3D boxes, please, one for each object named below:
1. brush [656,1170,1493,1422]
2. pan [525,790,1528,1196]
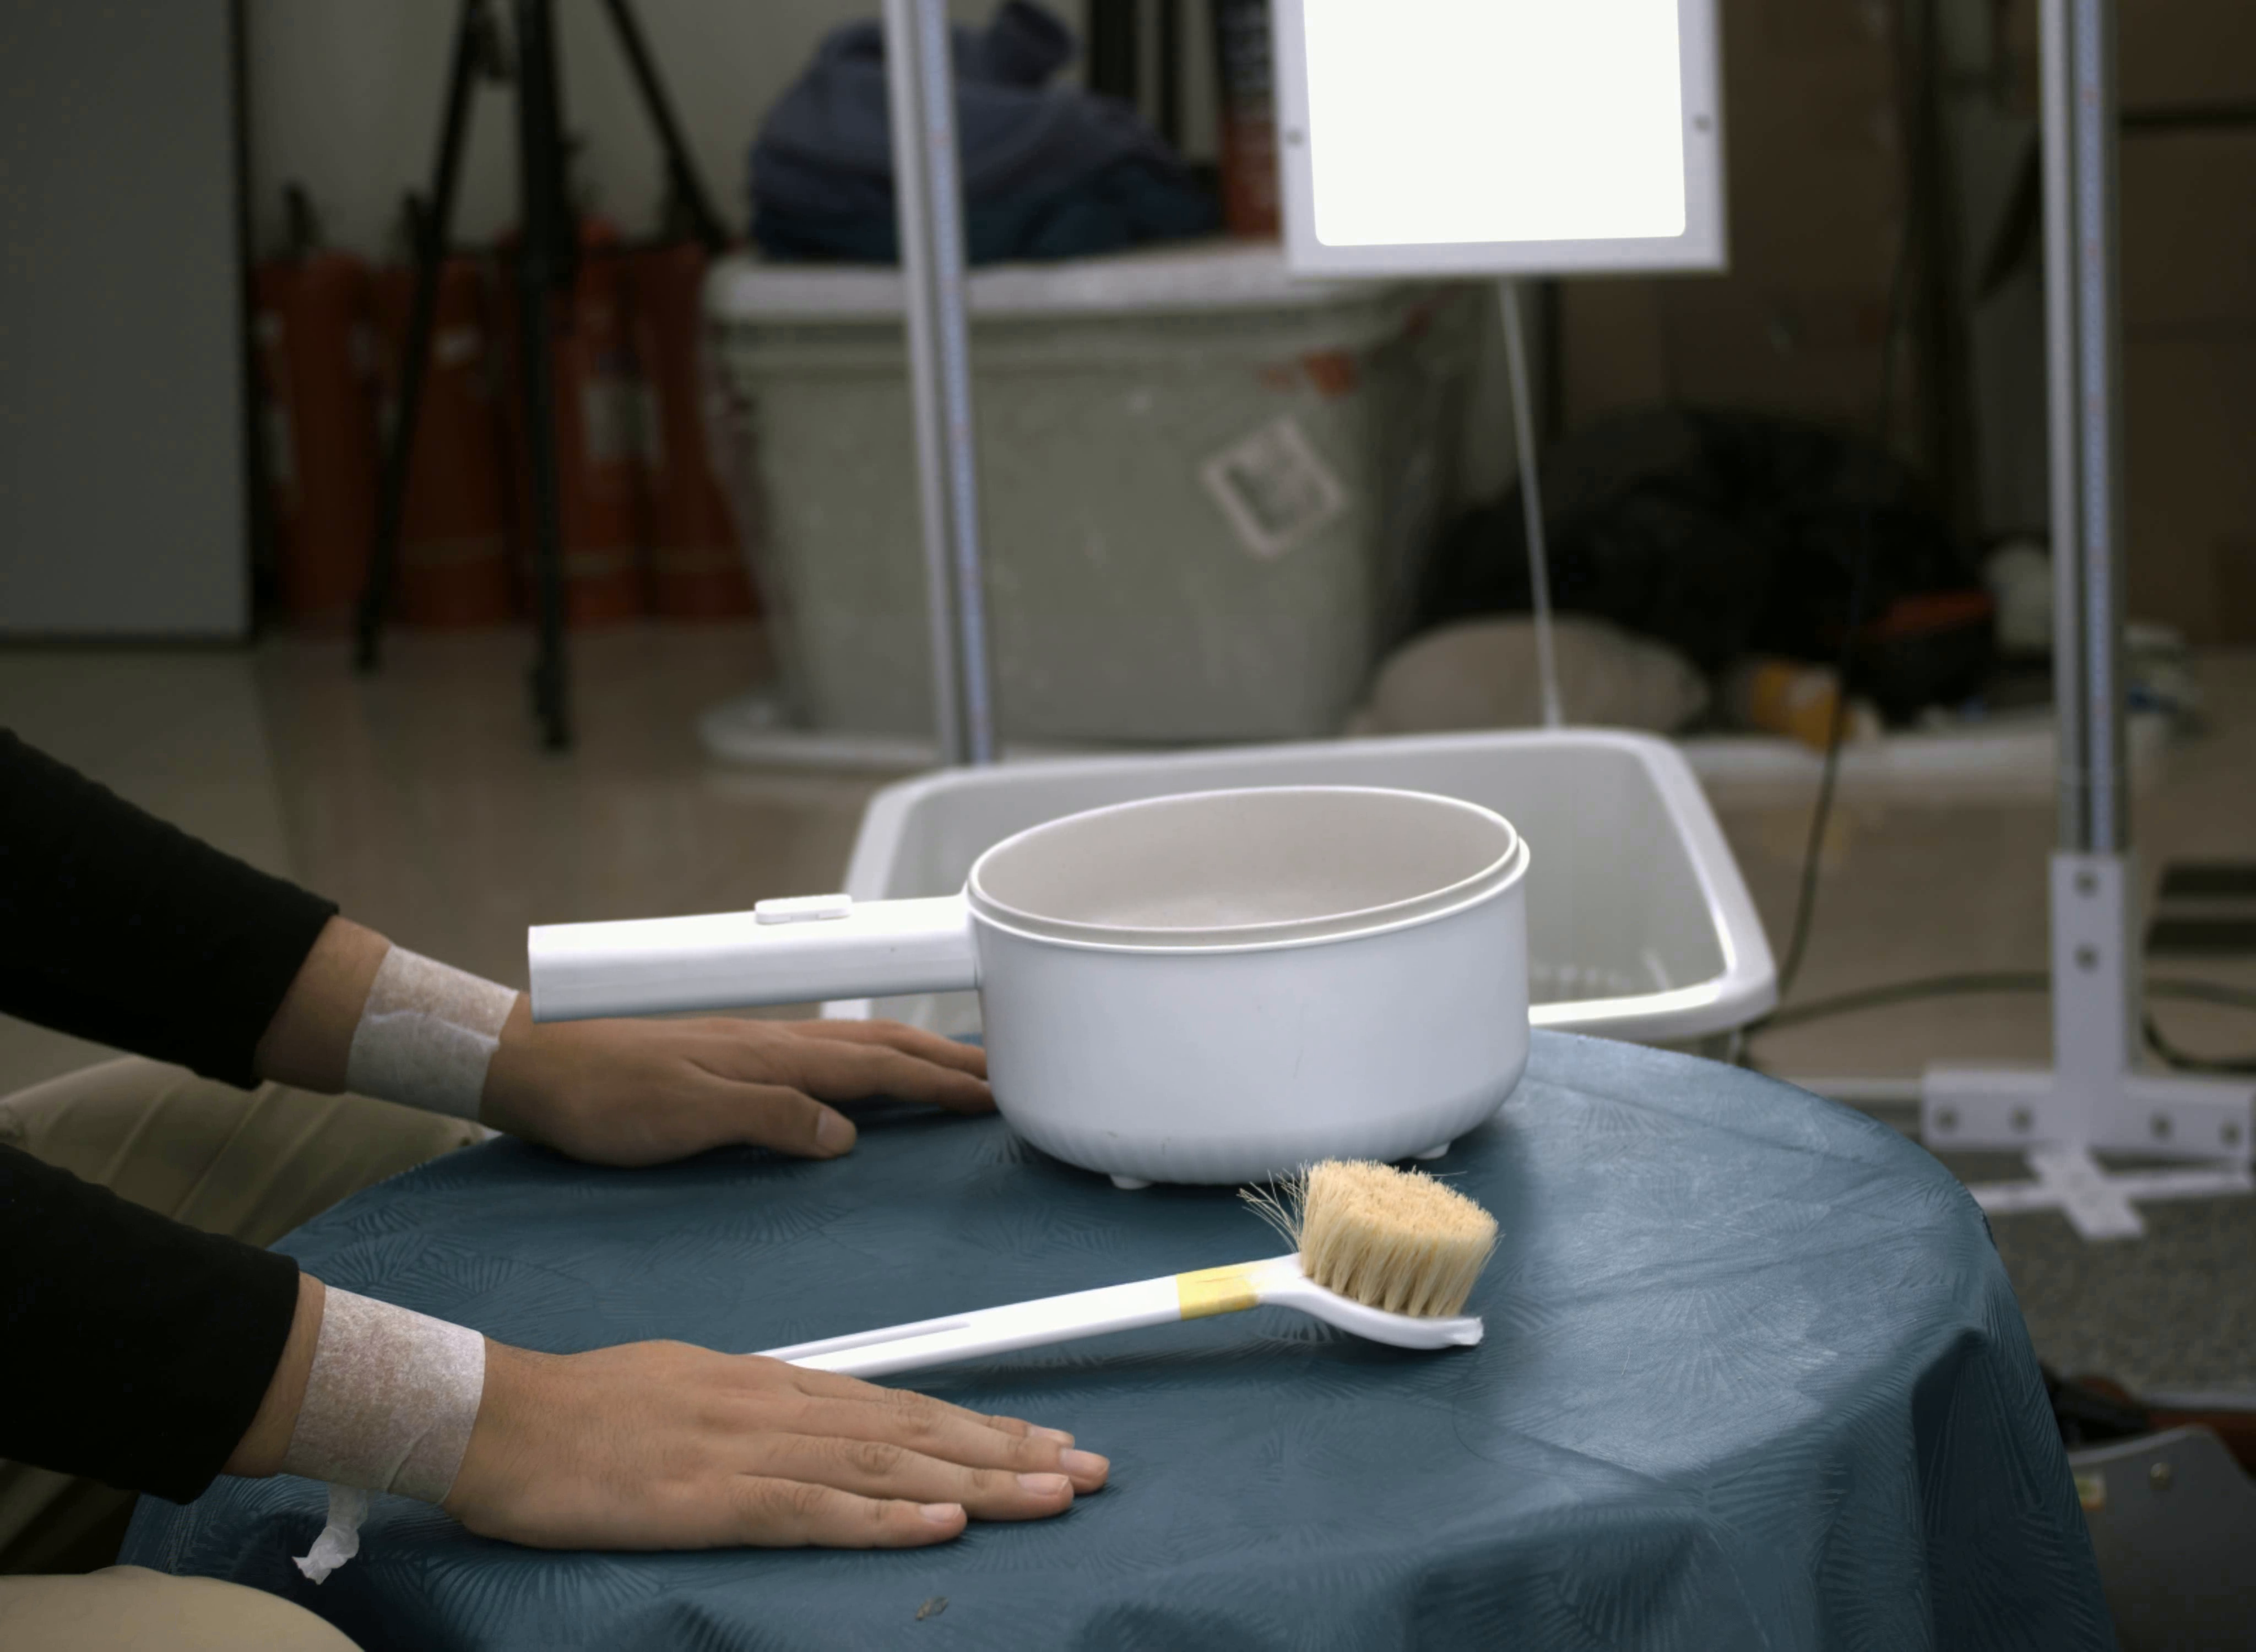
[{"bbox_3d":[-0.017,0.145,1.715,0.266,0.056,0.068,-6,10,2],"label":"brush"},{"bbox_3d":[-0.032,0.069,1.944,0.353,0.102,0.201,-6,15,-2],"label":"pan"}]
